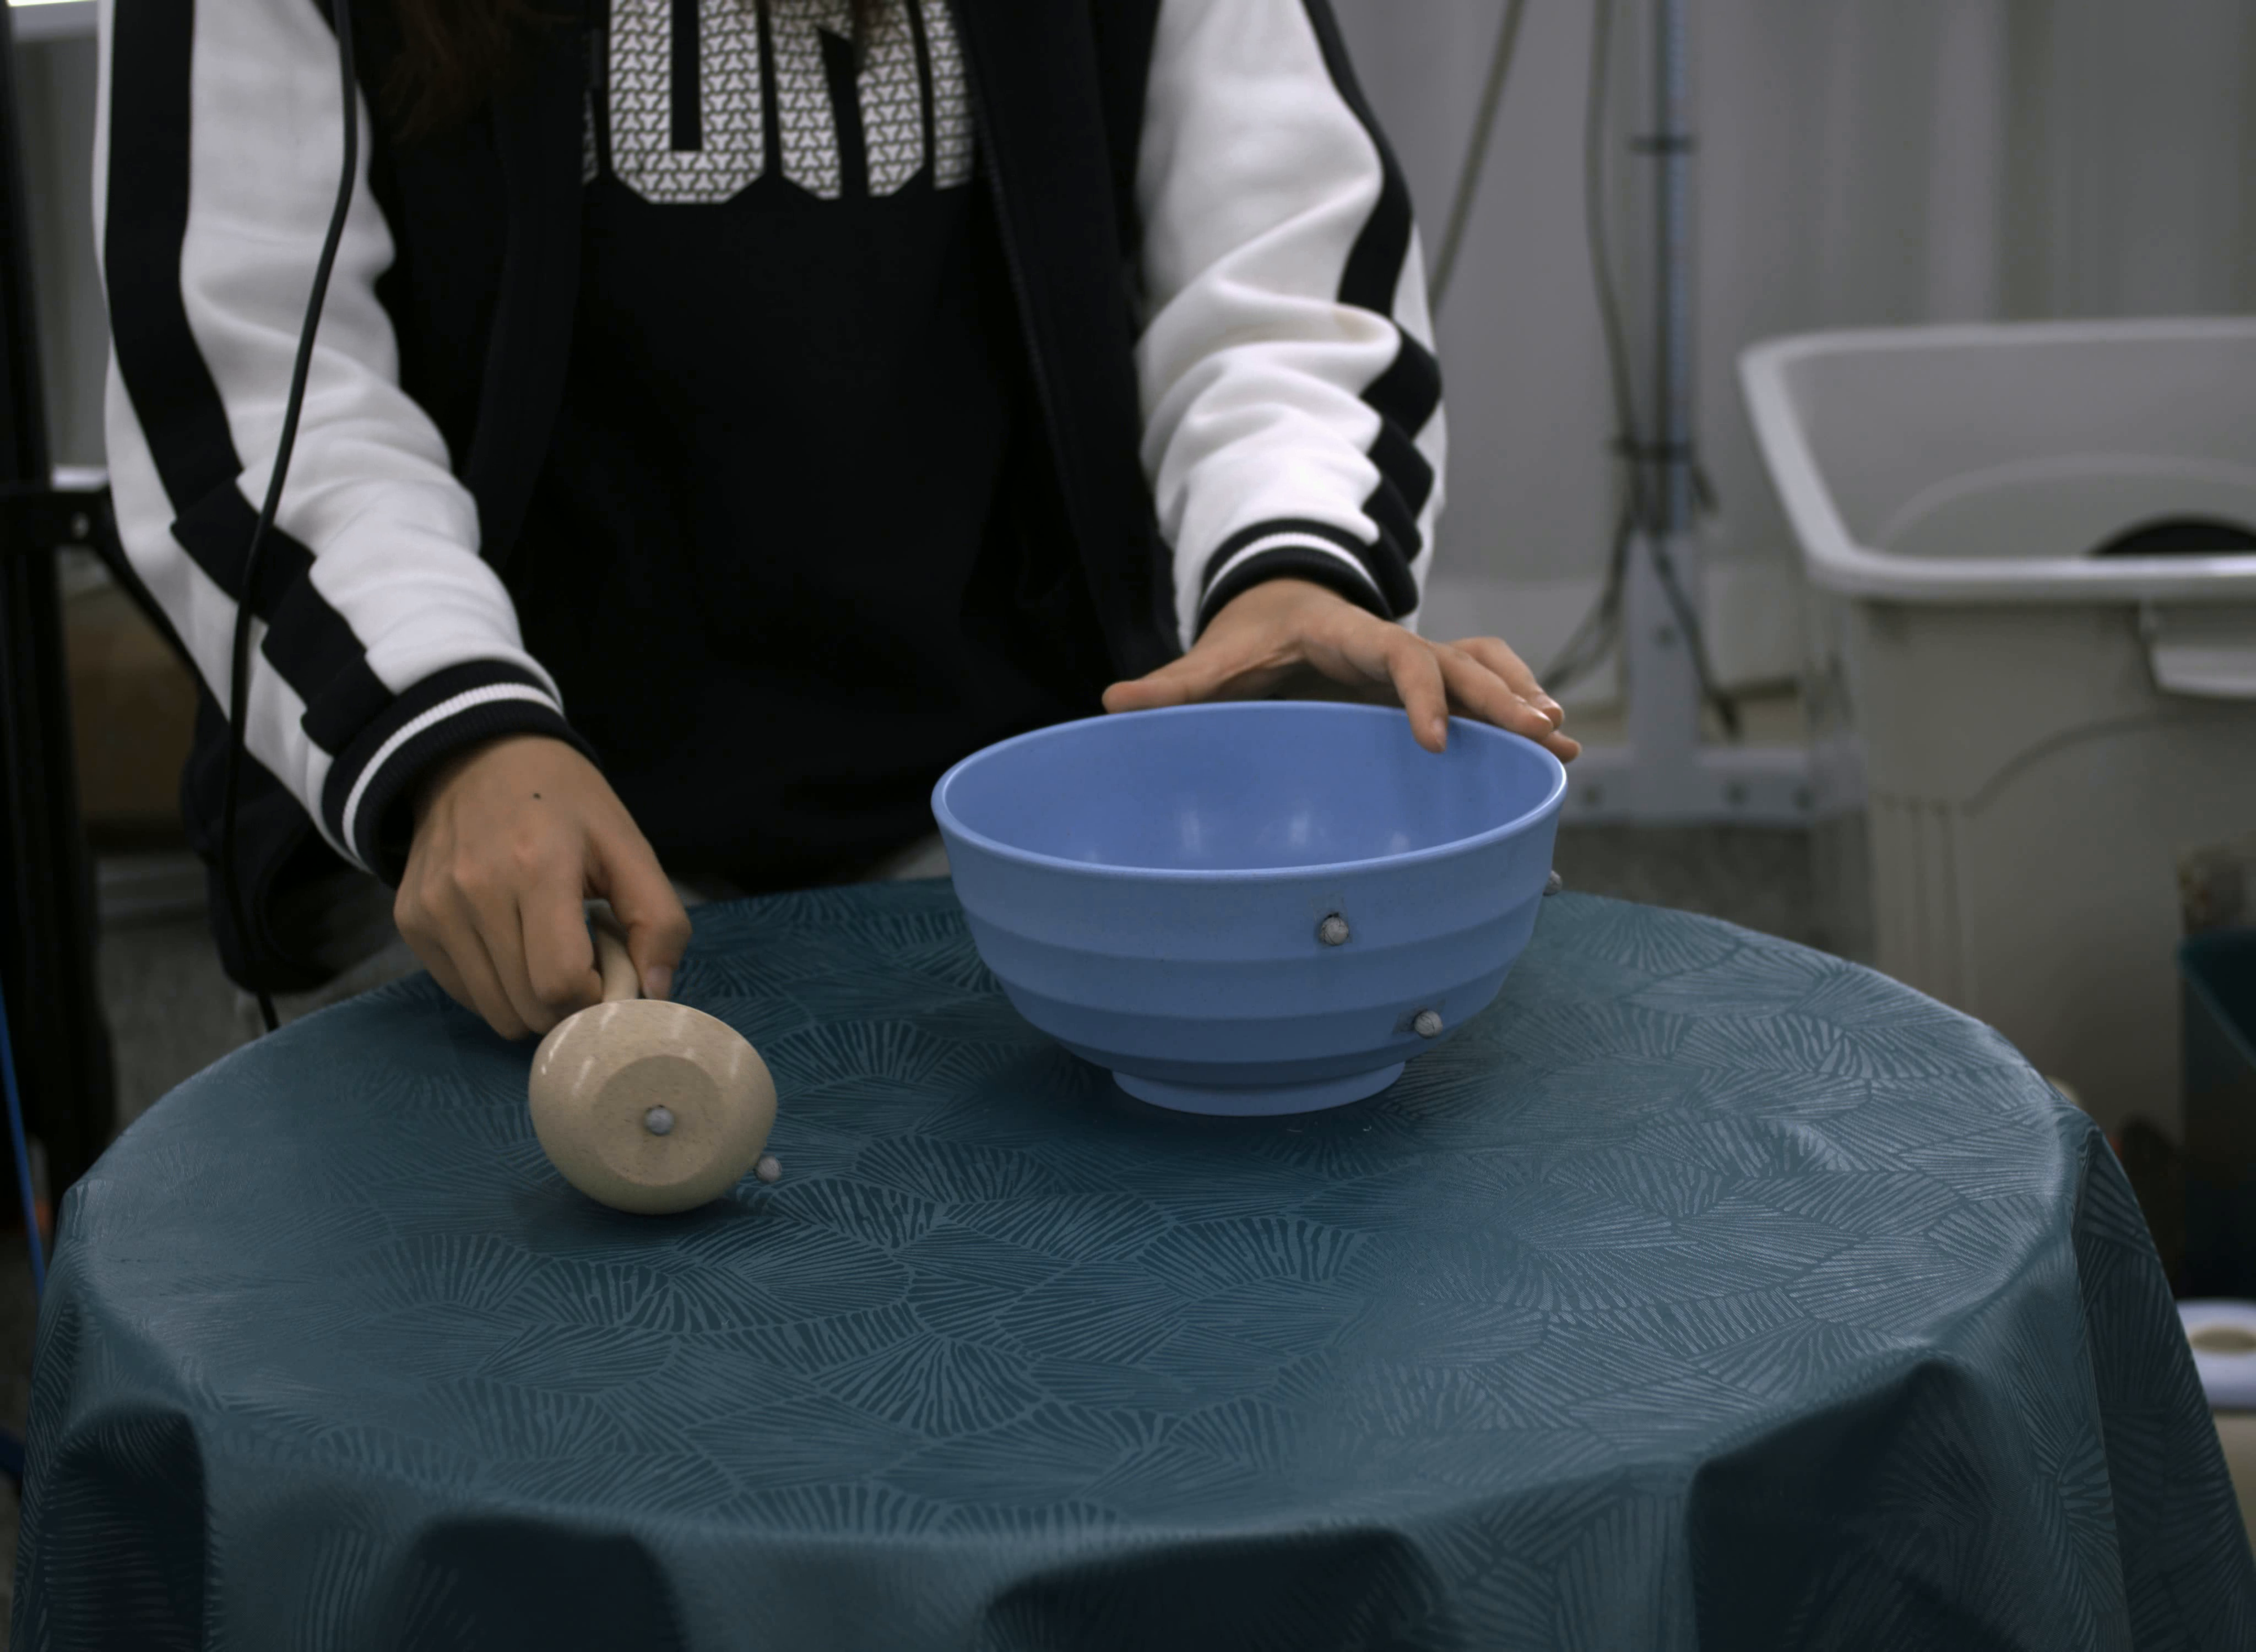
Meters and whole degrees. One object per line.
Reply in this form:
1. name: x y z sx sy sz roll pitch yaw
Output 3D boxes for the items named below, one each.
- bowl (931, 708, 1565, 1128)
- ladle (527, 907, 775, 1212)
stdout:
1. bowl: 0.039 0.034 1.649 0.195 0.095 0.197 -4 16 0
2. ladle: -0.147 0.044 1.646 0.071 0.073 0.256 25 16 -13
